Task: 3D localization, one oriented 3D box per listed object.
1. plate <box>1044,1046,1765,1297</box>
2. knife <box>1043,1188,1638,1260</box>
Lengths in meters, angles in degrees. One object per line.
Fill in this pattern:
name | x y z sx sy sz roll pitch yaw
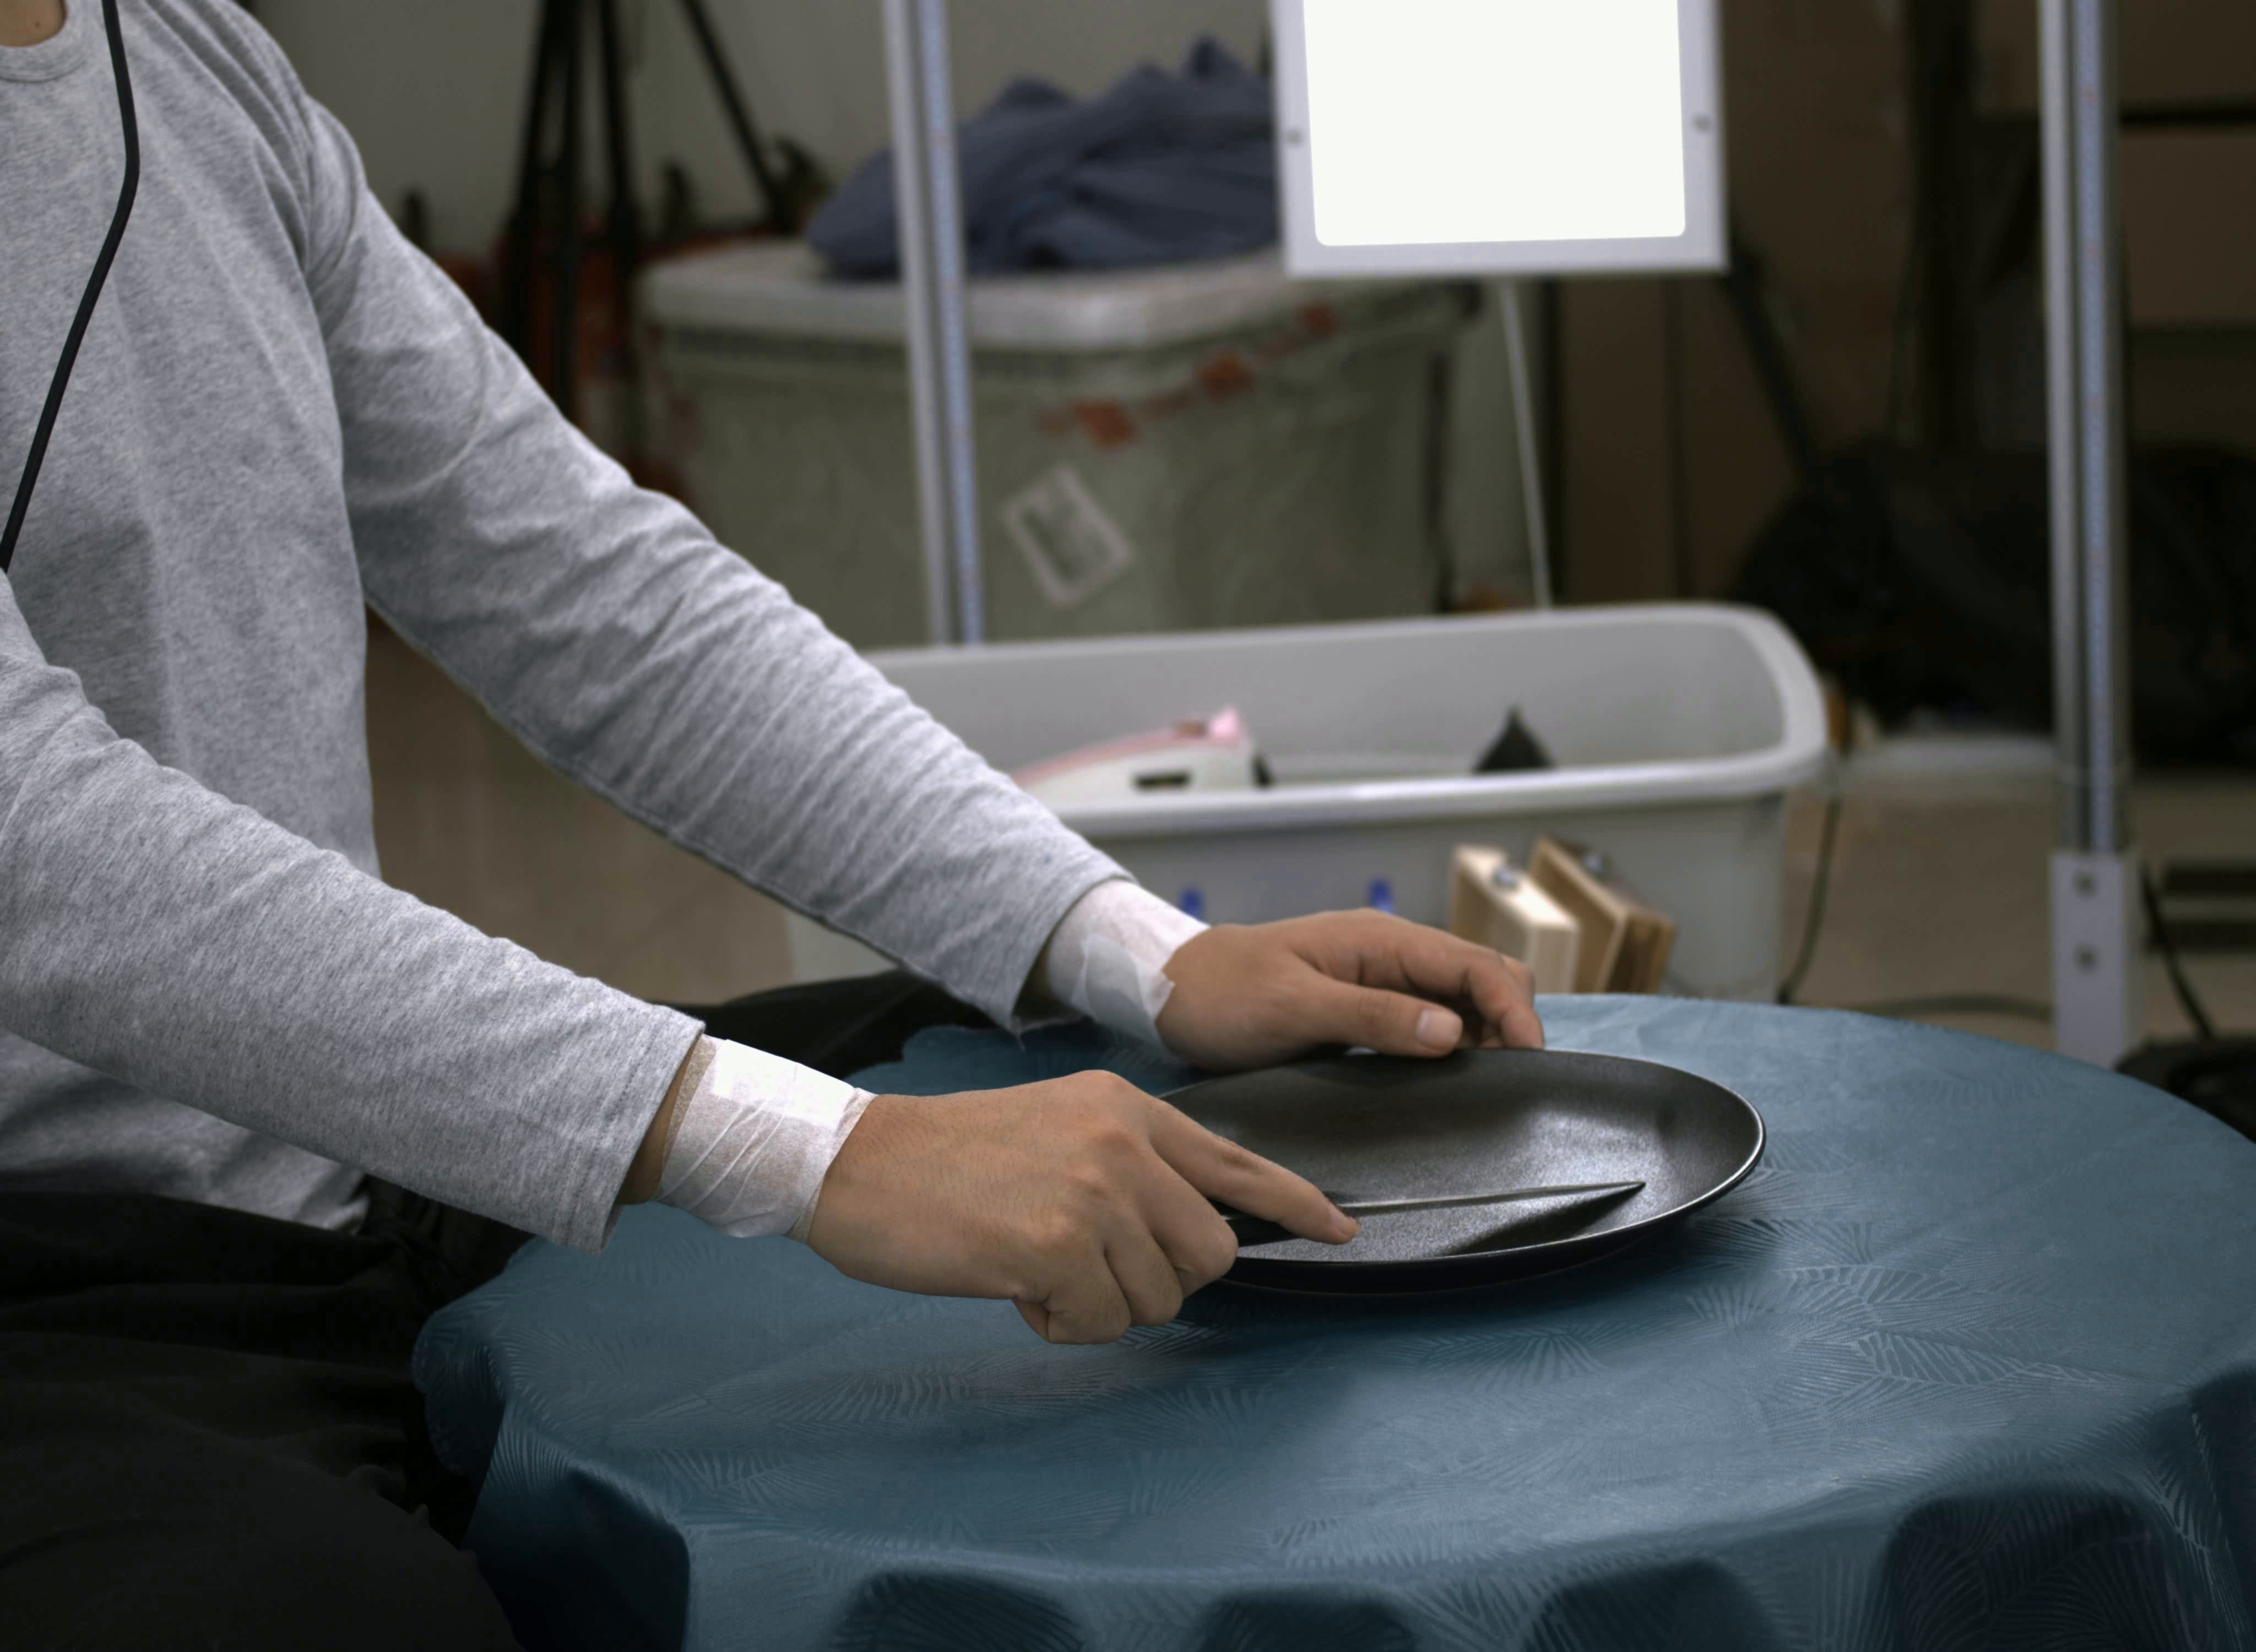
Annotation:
plate | 0.094 0.119 1.853 0.244 0.023 0.244 -5 14 0
knife | 0.075 0.124 1.769 0.232 0.016 0.025 -2 -8 -33
